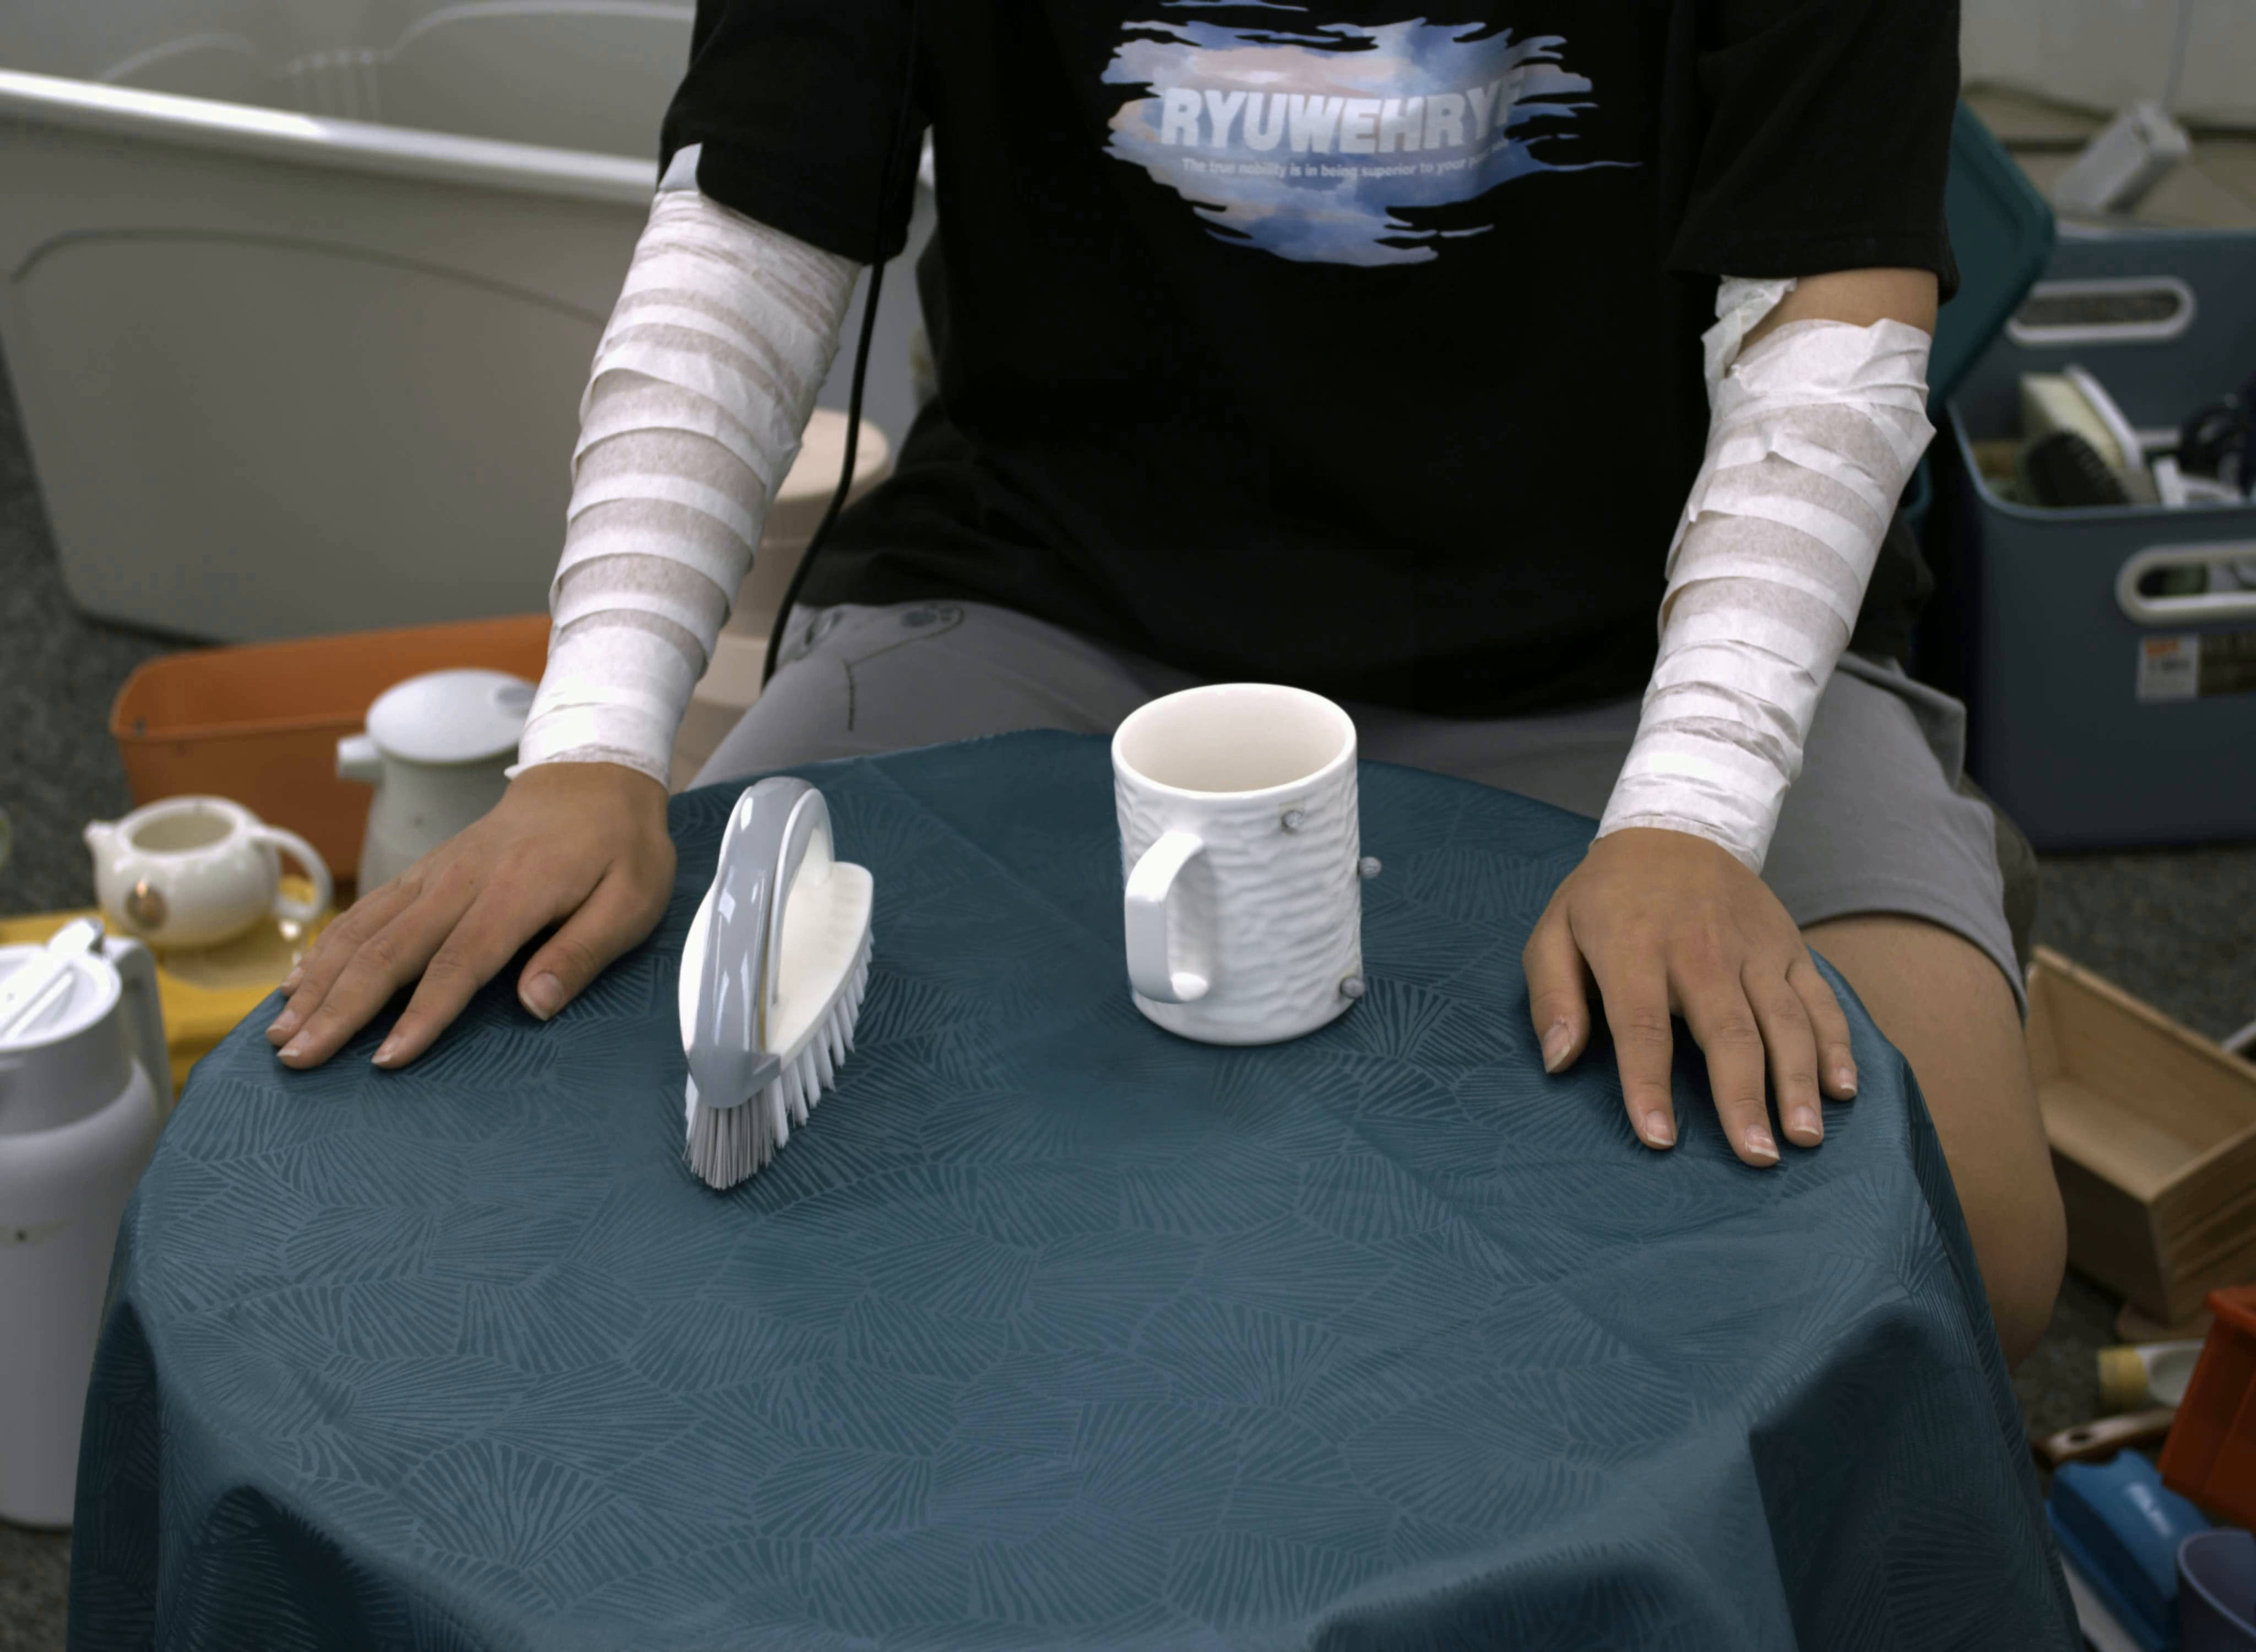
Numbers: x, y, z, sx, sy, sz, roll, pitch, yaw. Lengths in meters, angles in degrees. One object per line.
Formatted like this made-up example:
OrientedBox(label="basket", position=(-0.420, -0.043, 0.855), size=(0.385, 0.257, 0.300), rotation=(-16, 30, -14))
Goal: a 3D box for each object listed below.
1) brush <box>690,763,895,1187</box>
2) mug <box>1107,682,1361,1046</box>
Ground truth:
OrientedBox(label="brush", position=(-0.123, 0.043, 1.928), size=(0.061, 0.093, 0.178), rotation=(-4, 28, 10))
OrientedBox(label="mug", position=(0.031, 0.021, 1.943), size=(0.084, 0.101, 0.120), rotation=(9, 30, 23))
